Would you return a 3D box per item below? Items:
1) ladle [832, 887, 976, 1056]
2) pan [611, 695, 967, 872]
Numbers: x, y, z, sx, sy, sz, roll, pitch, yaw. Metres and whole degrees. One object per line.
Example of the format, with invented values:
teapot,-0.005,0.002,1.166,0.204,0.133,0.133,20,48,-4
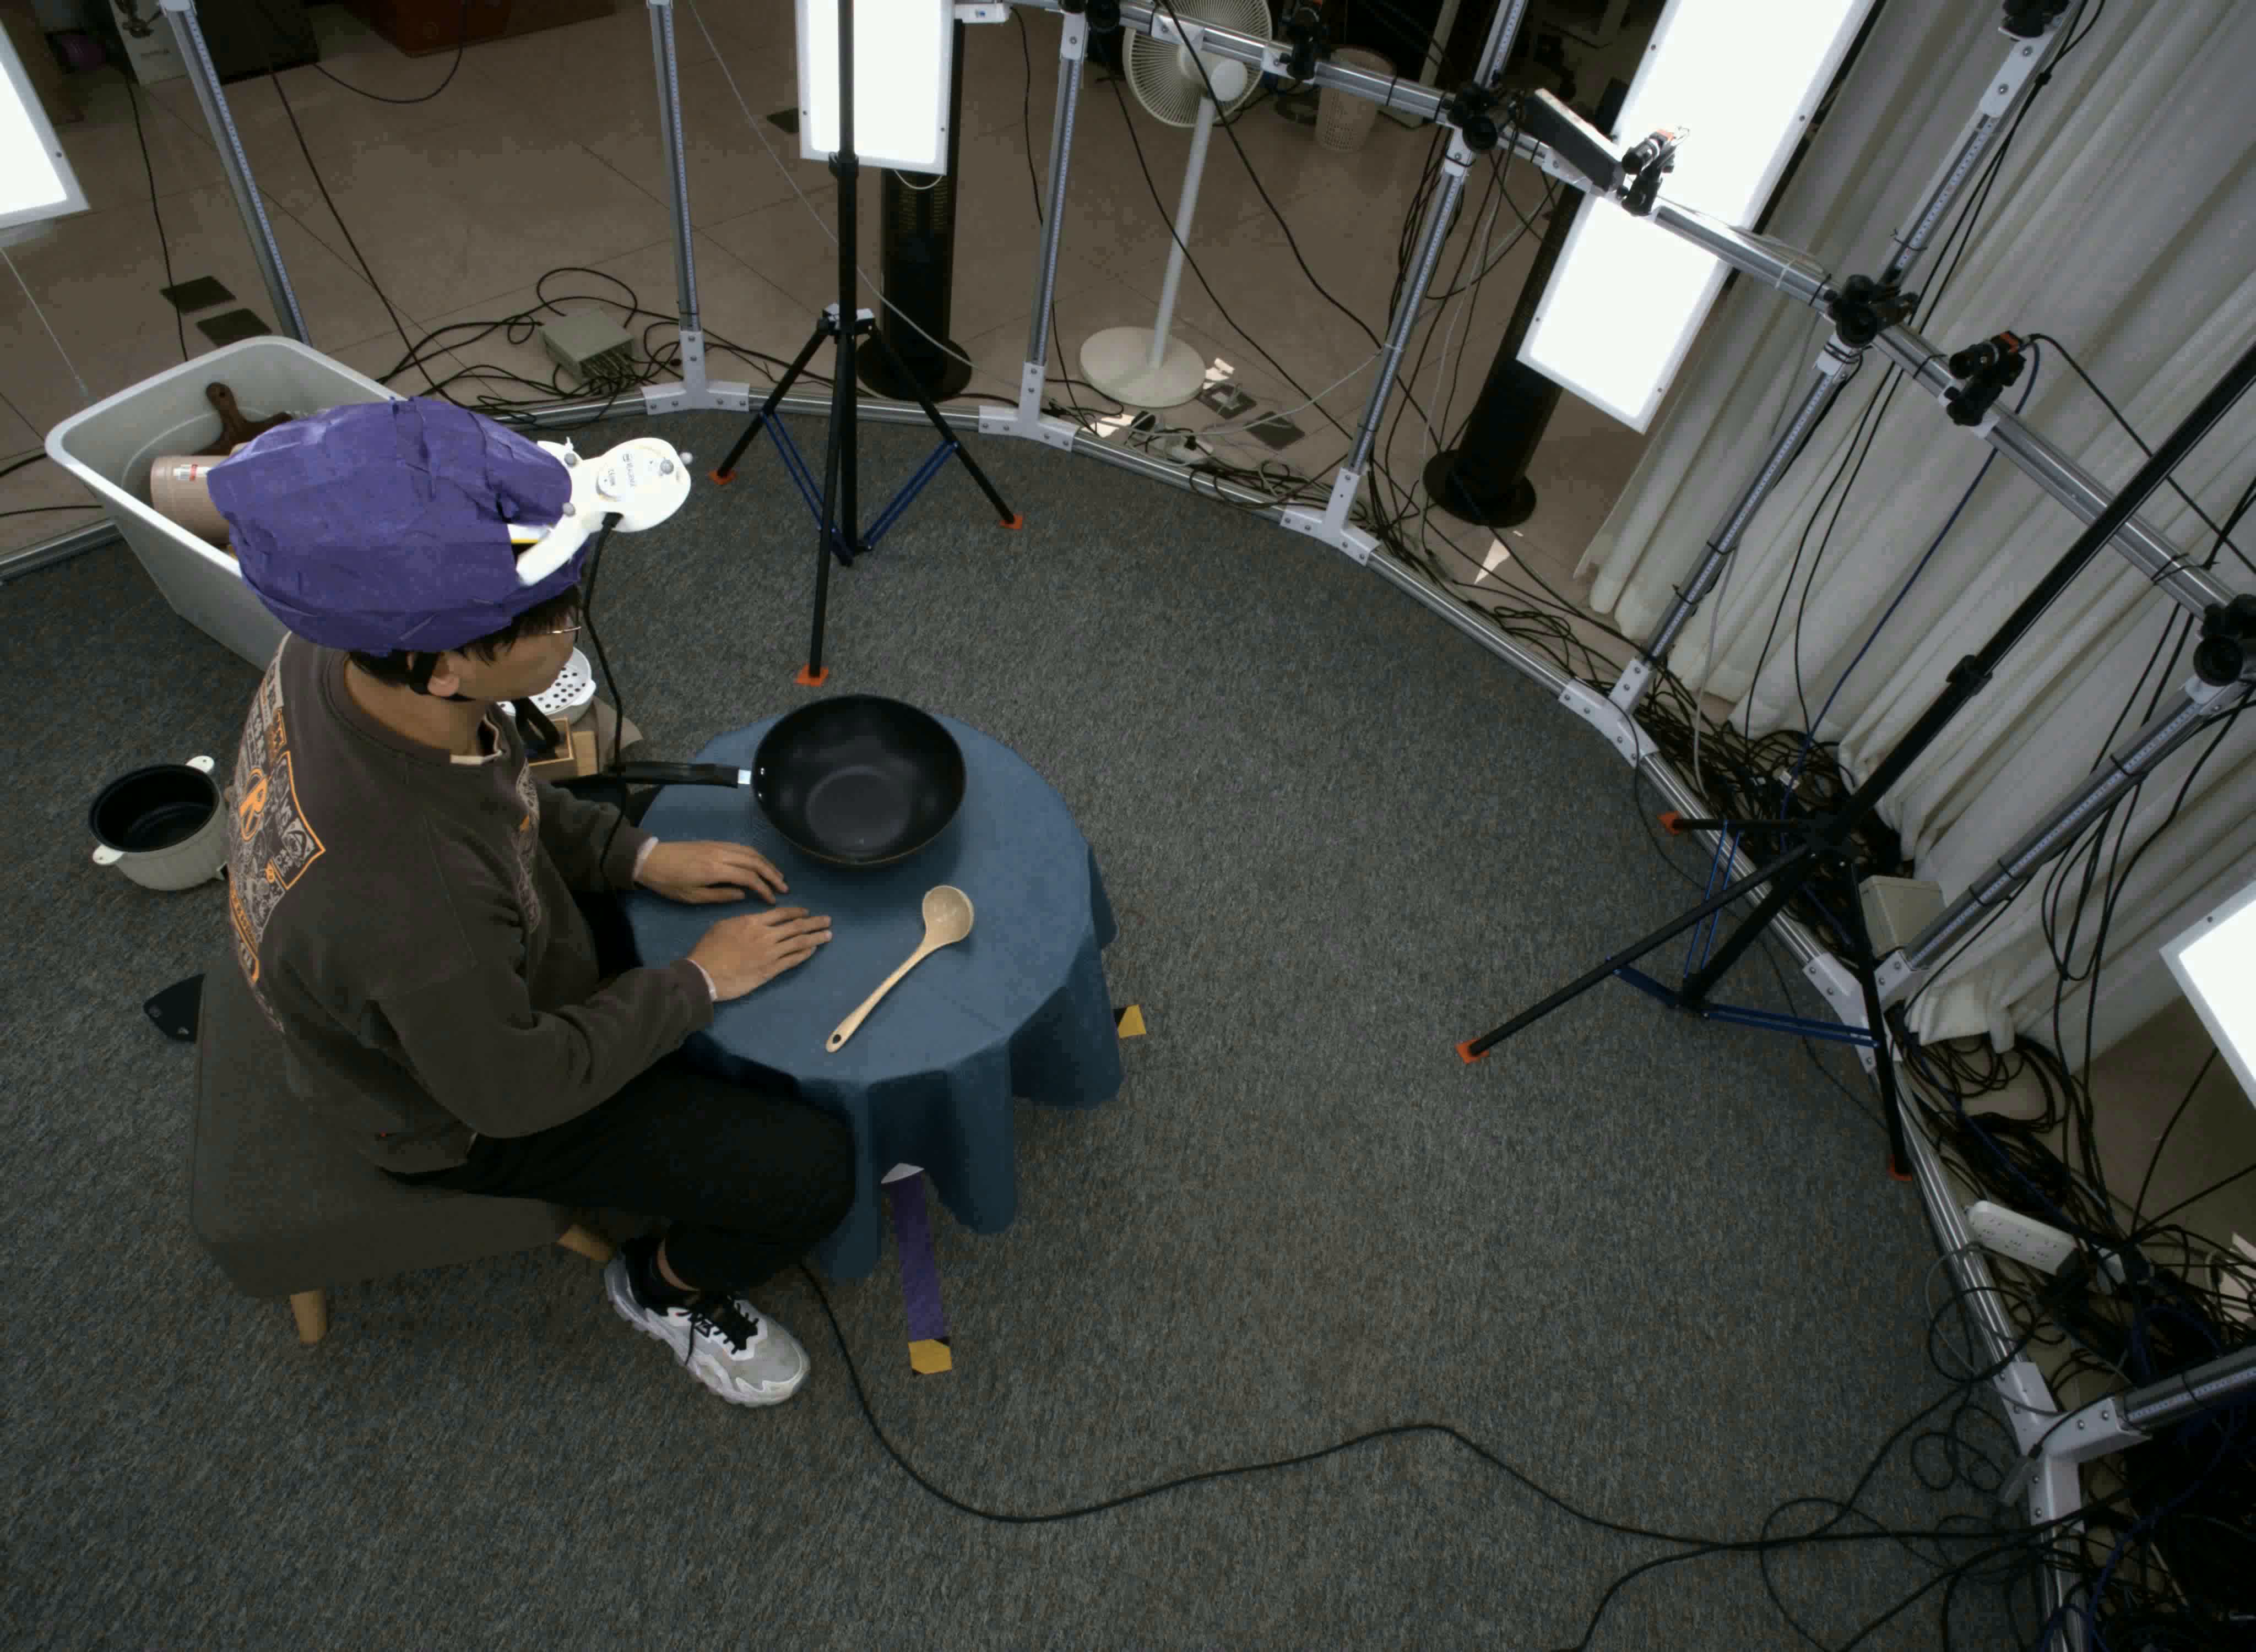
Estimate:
ladle,-0.279,0.172,1.600,0.071,0.074,0.254,32,52,10
pan,-0.444,-0.044,1.713,0.463,0.089,0.282,0,54,-12
